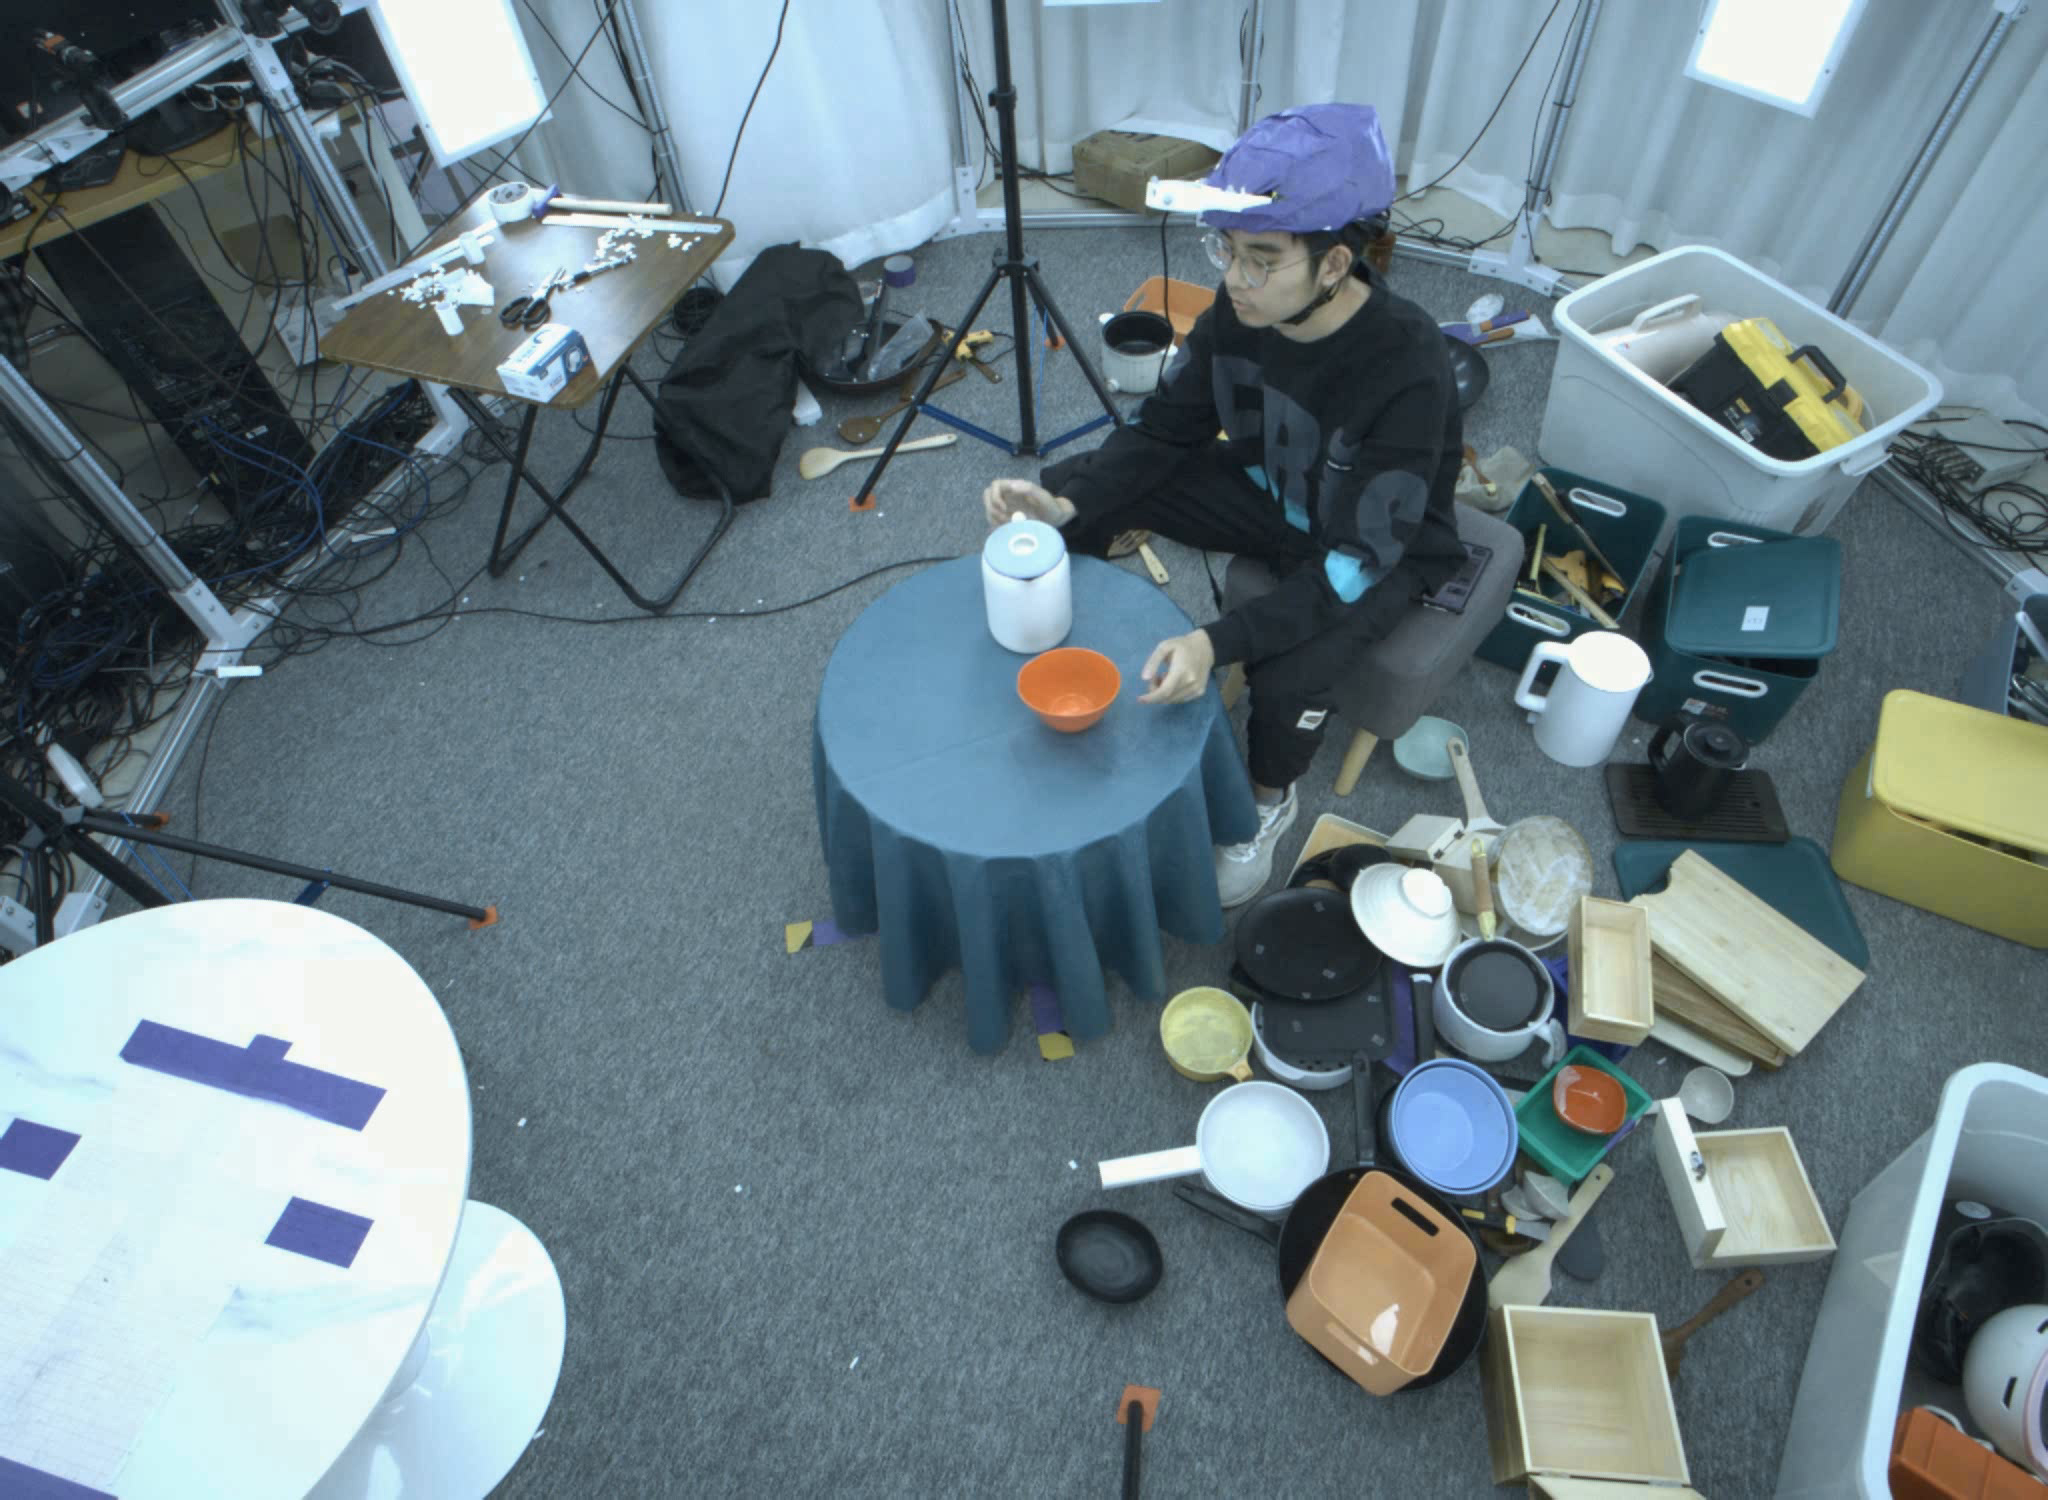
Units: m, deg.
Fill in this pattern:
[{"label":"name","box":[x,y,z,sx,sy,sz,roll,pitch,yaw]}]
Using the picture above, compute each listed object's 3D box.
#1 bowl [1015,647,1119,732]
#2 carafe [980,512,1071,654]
[{"label":"bowl","box":[0.063,-0.073,1.771,0.148,0.106,0.146,-1,55,2]},{"label":"carafe","box":[-0.001,-0.266,1.867,0.133,0.184,0.188,-8,52,-4]}]
